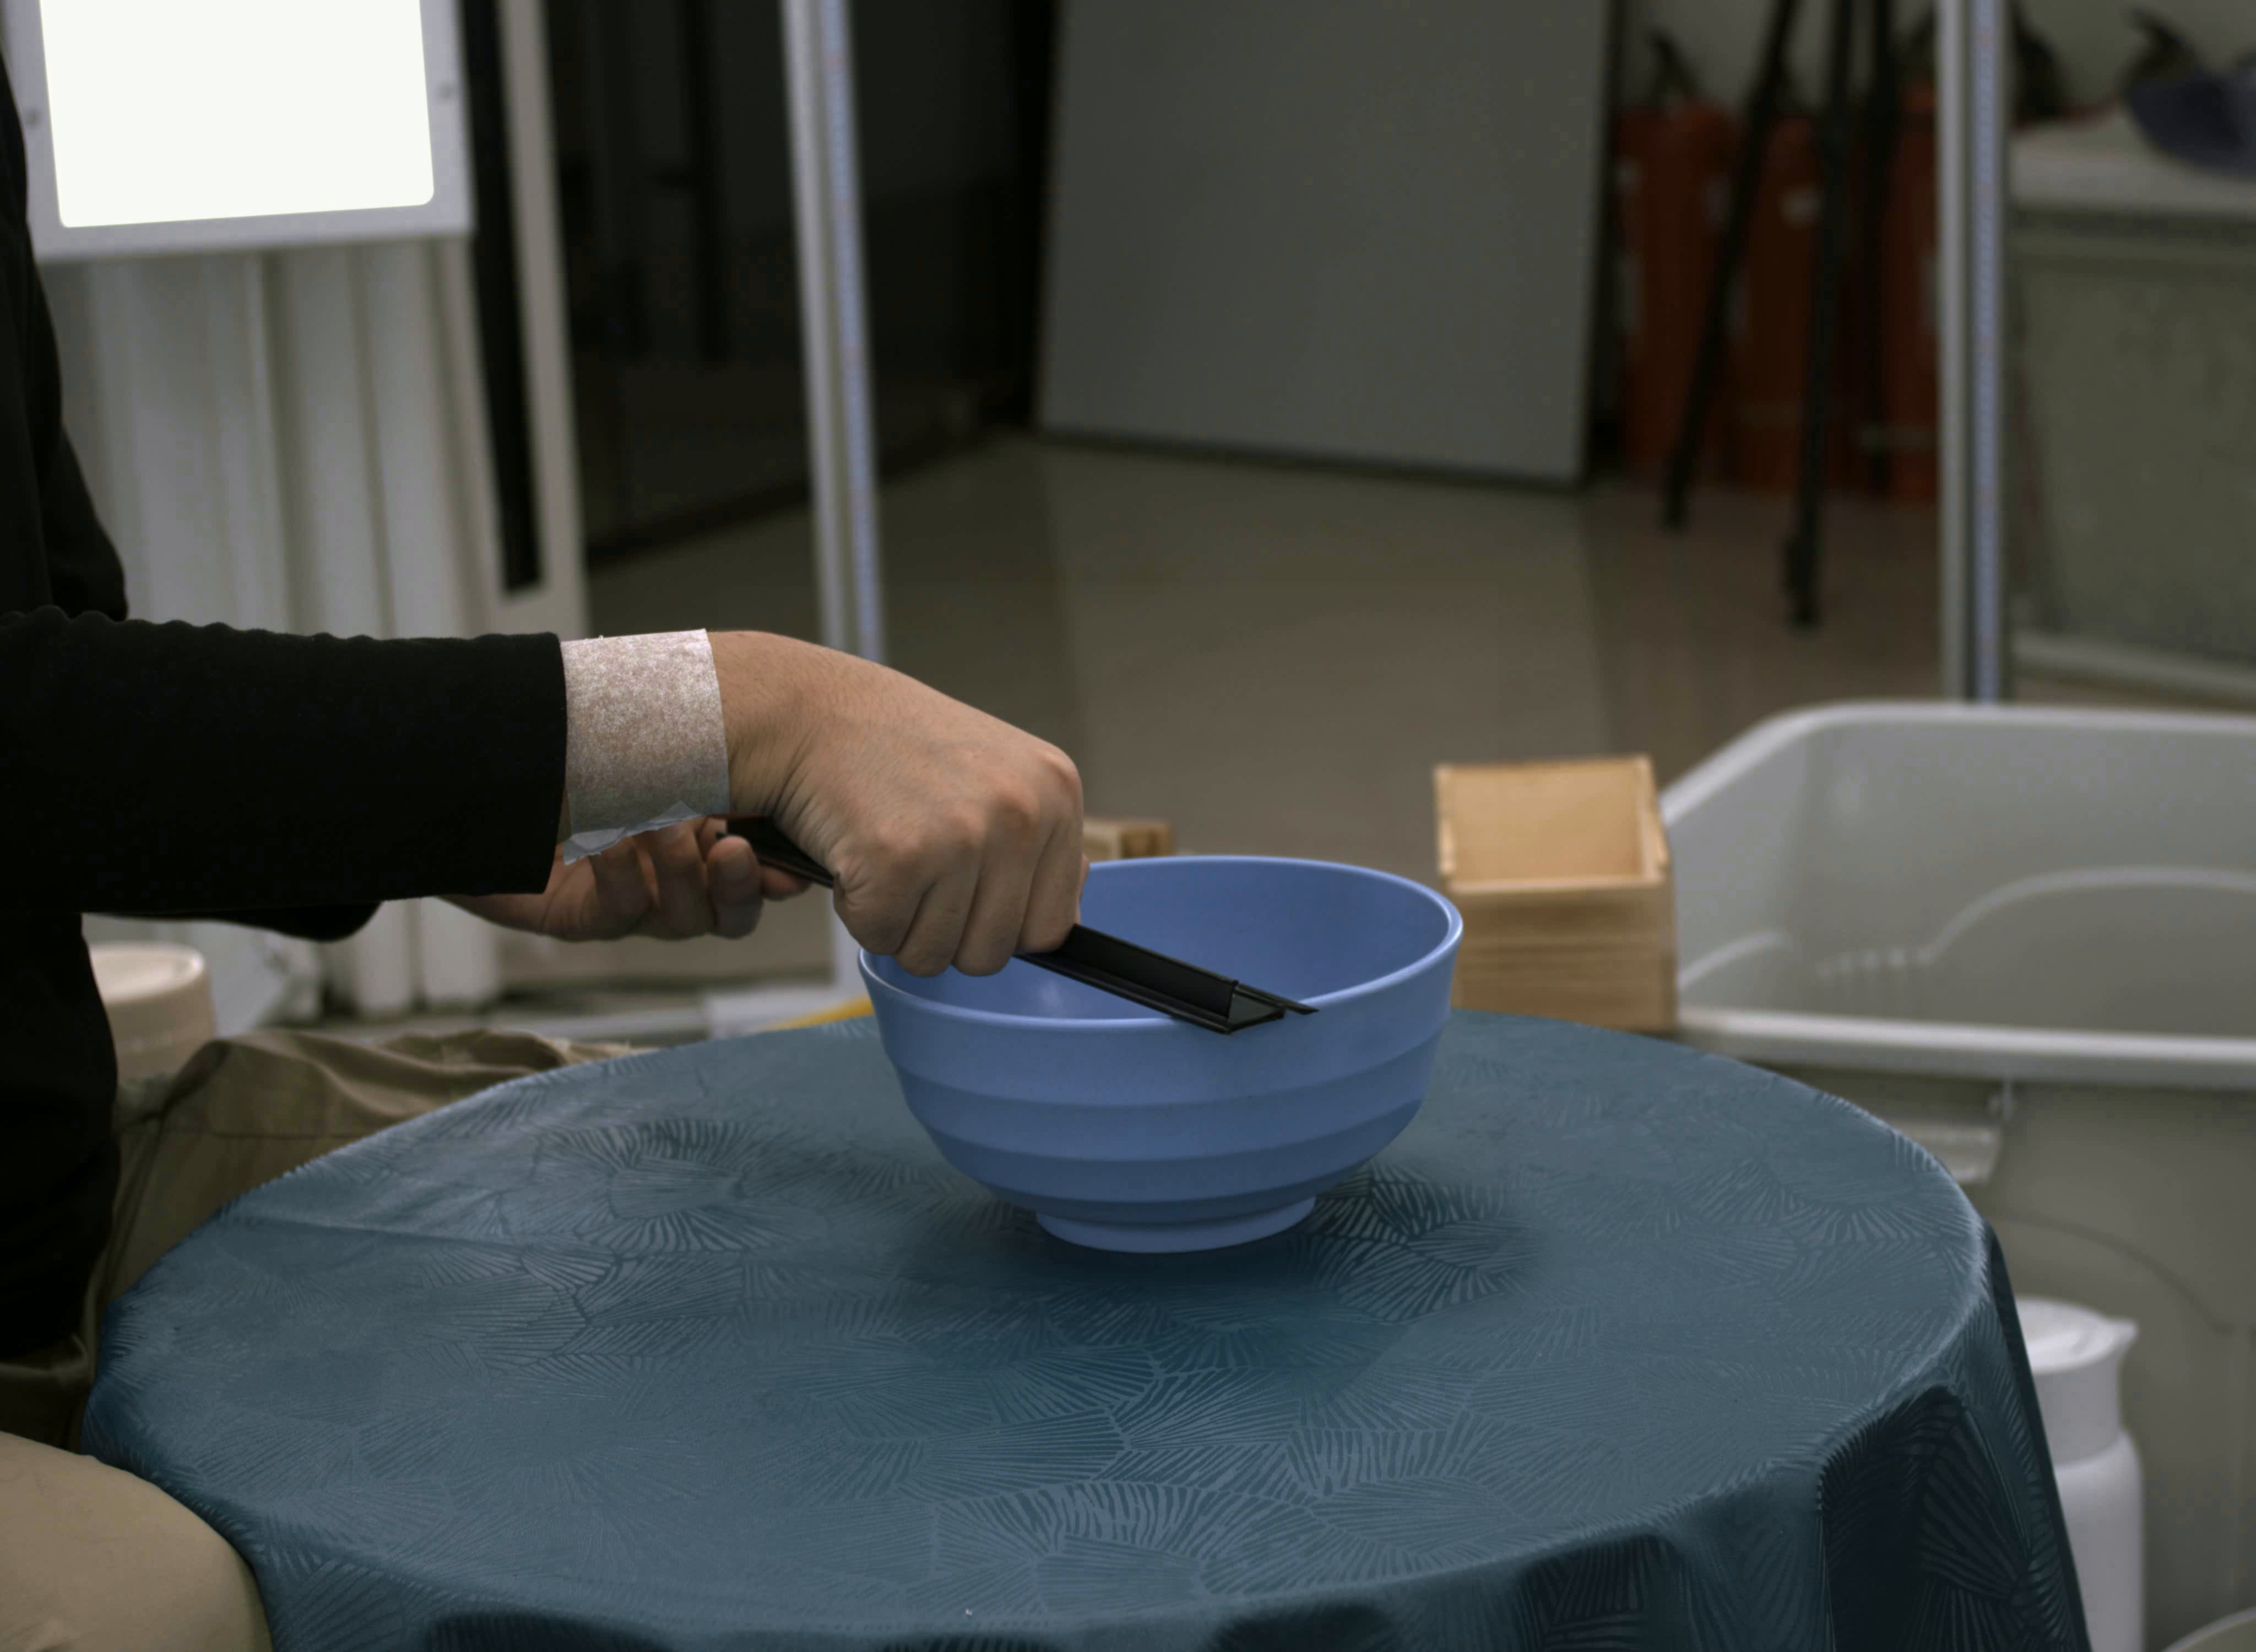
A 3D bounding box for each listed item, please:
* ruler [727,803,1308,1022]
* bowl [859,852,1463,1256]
[{"bbox_3d":[-0.041,0.024,1.748,0.038,0.017,0.316,-5,12,-31],"label":"ruler"},{"bbox_3d":[0.013,0.079,1.737,0.194,0.096,0.197,-4,14,0],"label":"bowl"}]
